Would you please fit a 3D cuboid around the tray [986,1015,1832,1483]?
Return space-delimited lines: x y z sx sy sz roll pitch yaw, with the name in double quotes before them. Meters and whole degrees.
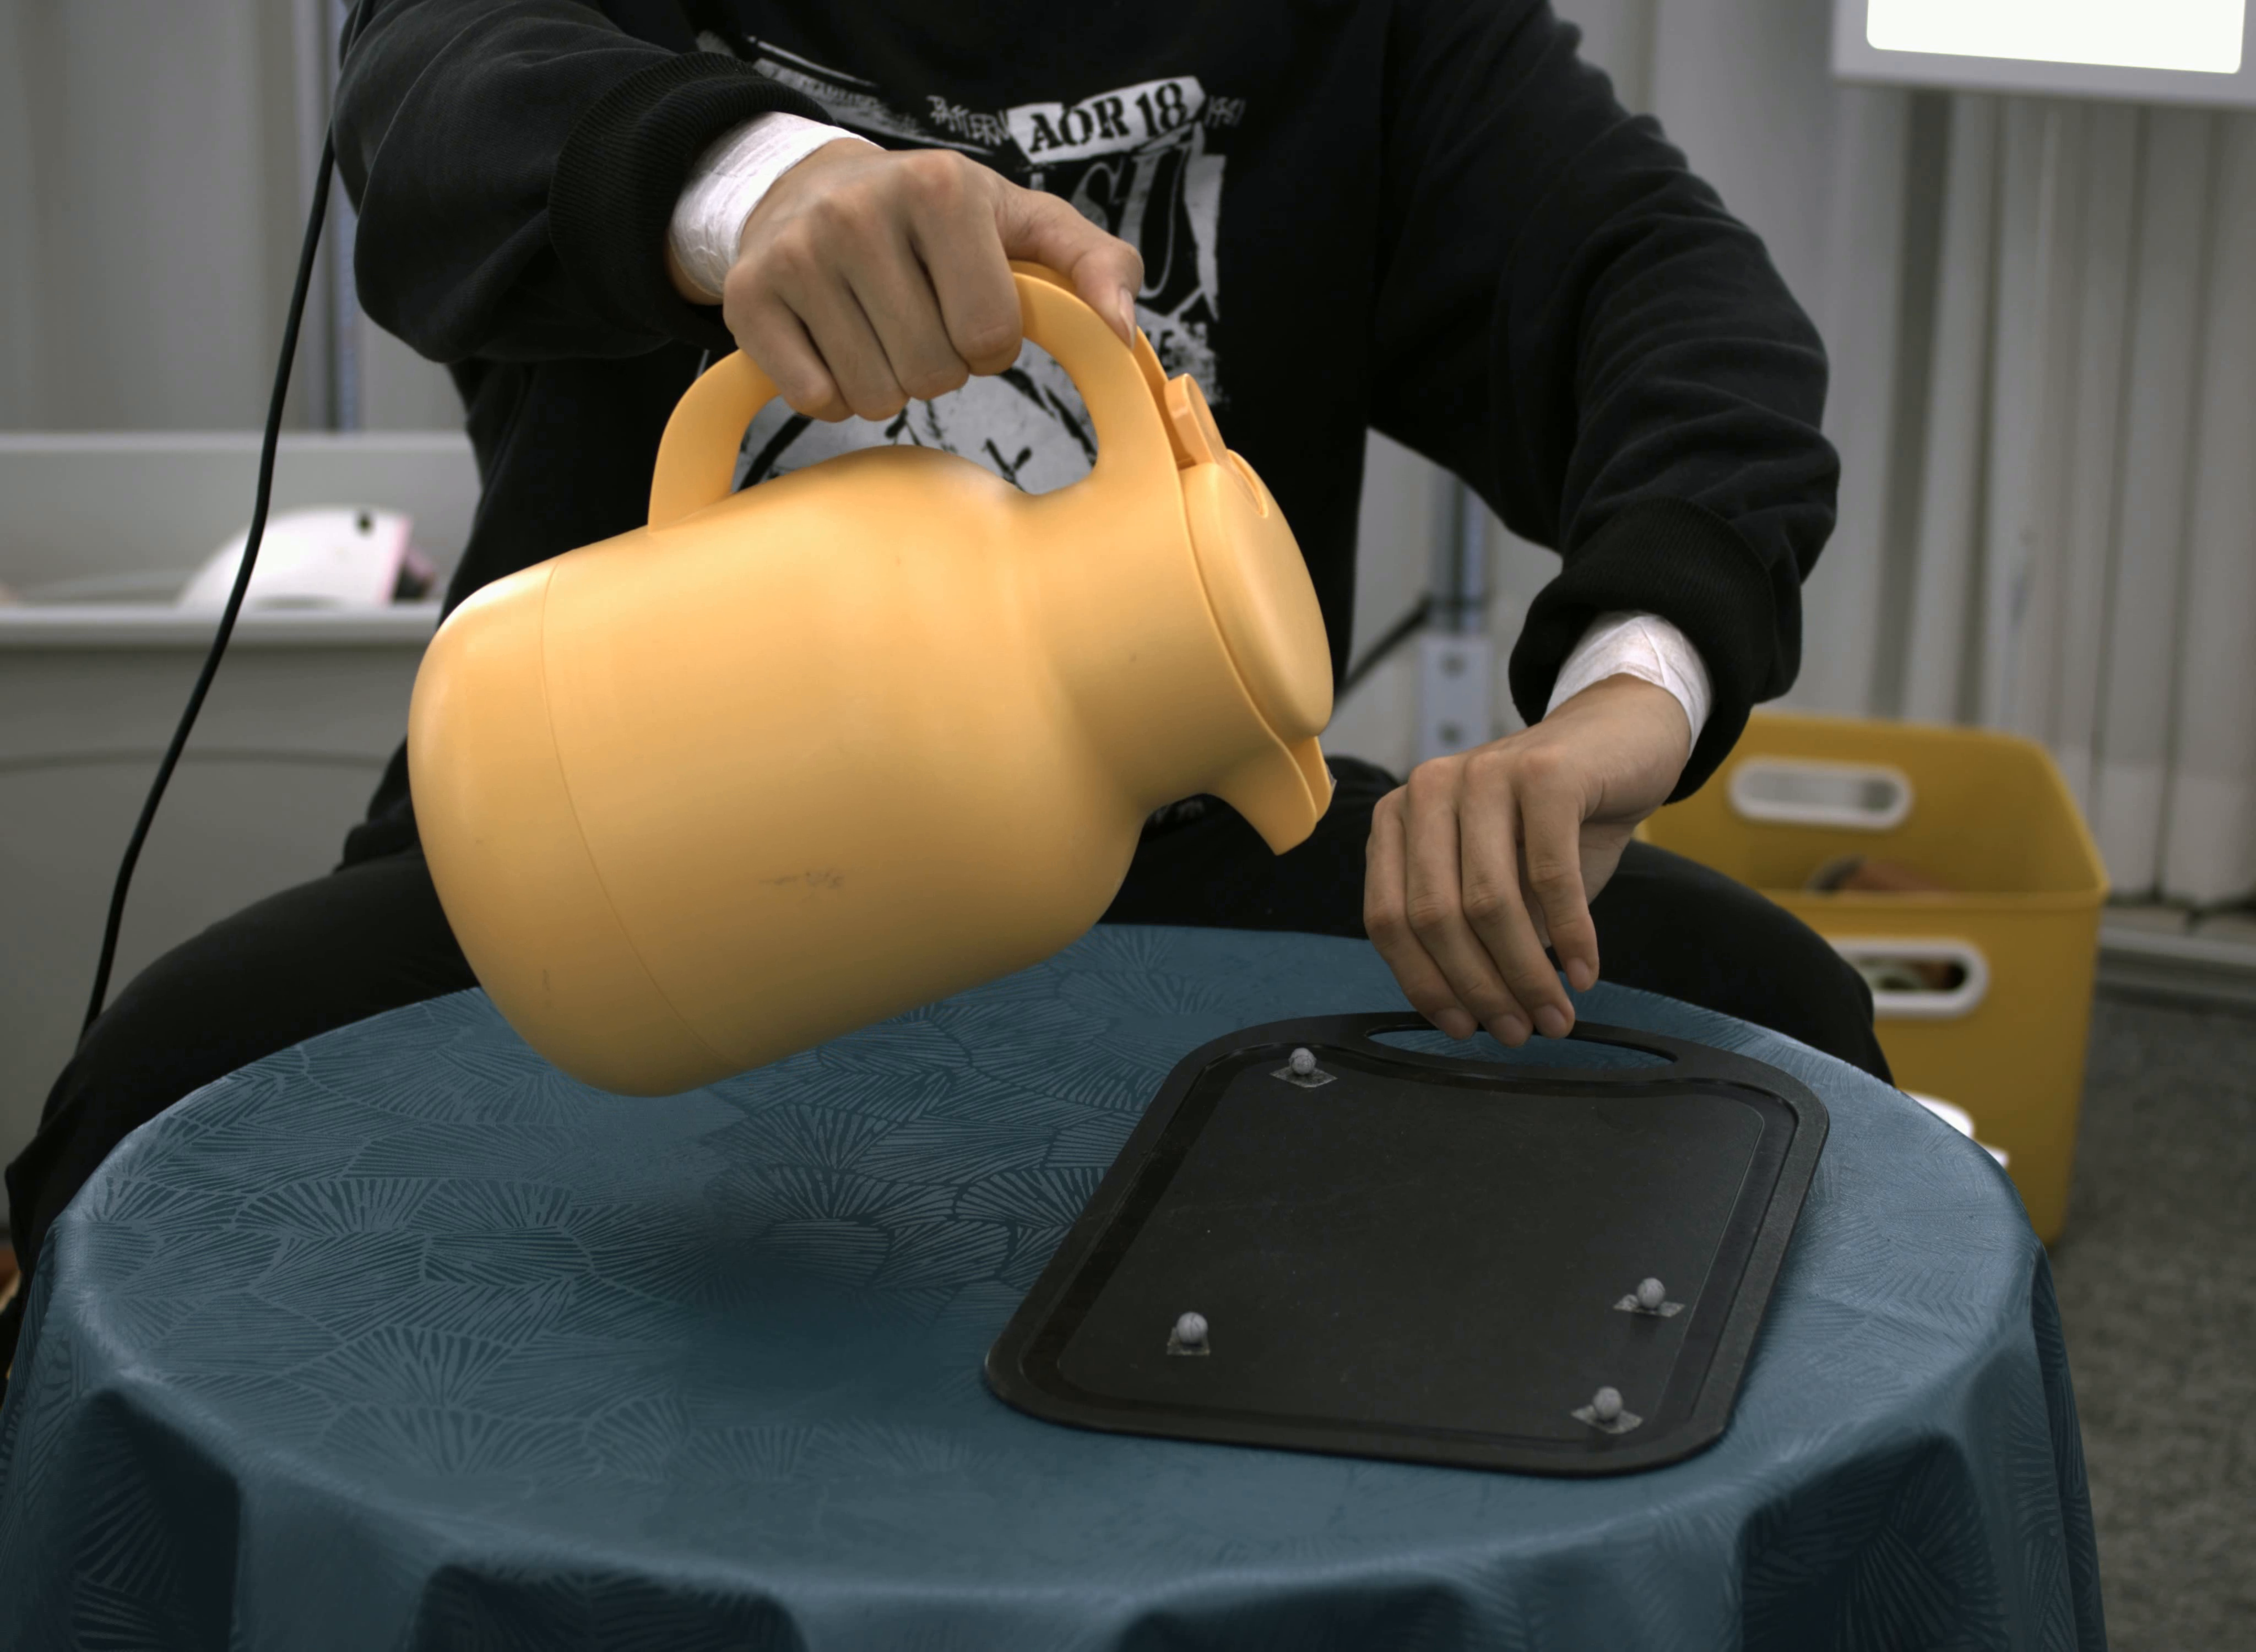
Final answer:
"tray" 0.091 0.115 1.564 0.209 0.010 0.325 5 20 14

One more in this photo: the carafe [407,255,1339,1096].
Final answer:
"carafe" -0.076 -0.048 1.531 0.259 0.203 0.163 -19 7 11
